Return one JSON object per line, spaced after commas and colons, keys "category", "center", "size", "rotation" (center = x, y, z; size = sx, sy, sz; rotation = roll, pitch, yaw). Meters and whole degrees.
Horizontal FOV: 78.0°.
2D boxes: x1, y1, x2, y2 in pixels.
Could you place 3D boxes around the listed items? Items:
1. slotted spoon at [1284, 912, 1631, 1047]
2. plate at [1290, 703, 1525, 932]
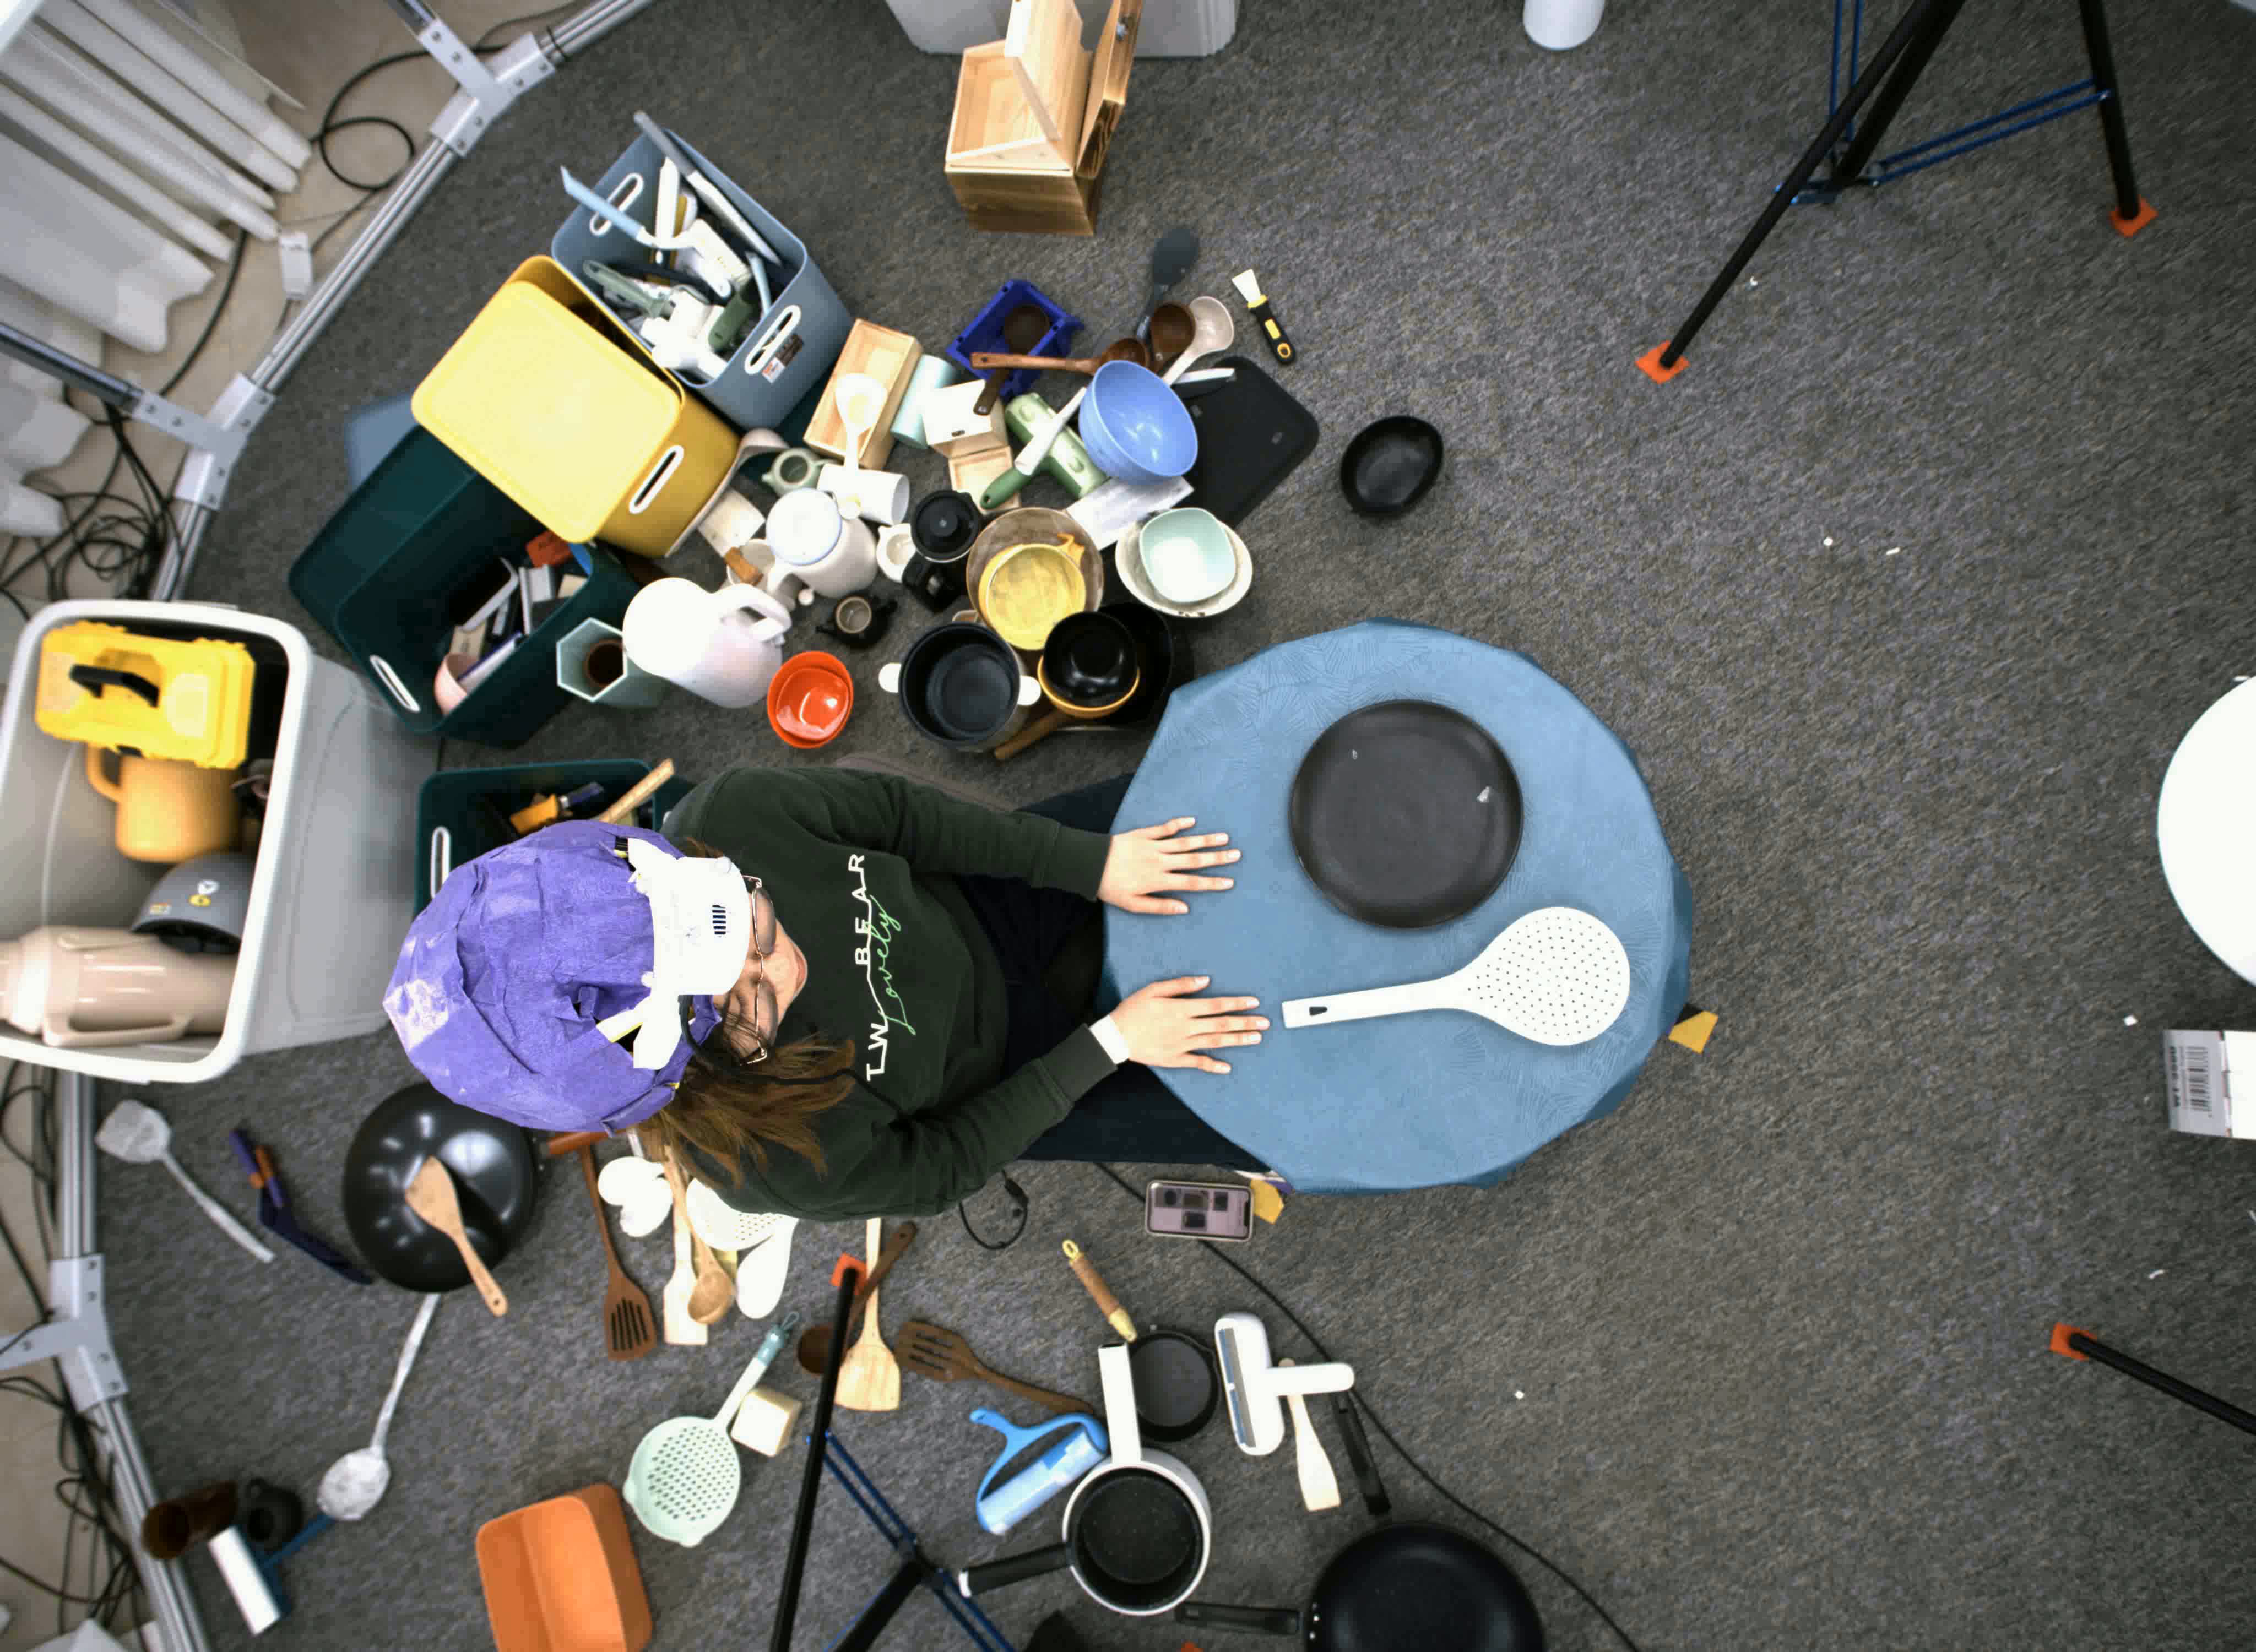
{"category": "slotted spoon", "center": [0.335, 0.171, 1.423], "size": [0.351, 0.046, 0.135], "rotation": [-9, 82, 10]}
{"category": "plate", "center": [0.293, -0.010, 1.454], "size": [0.245, 0.023, 0.243], "rotation": [-1, 86, 10]}
